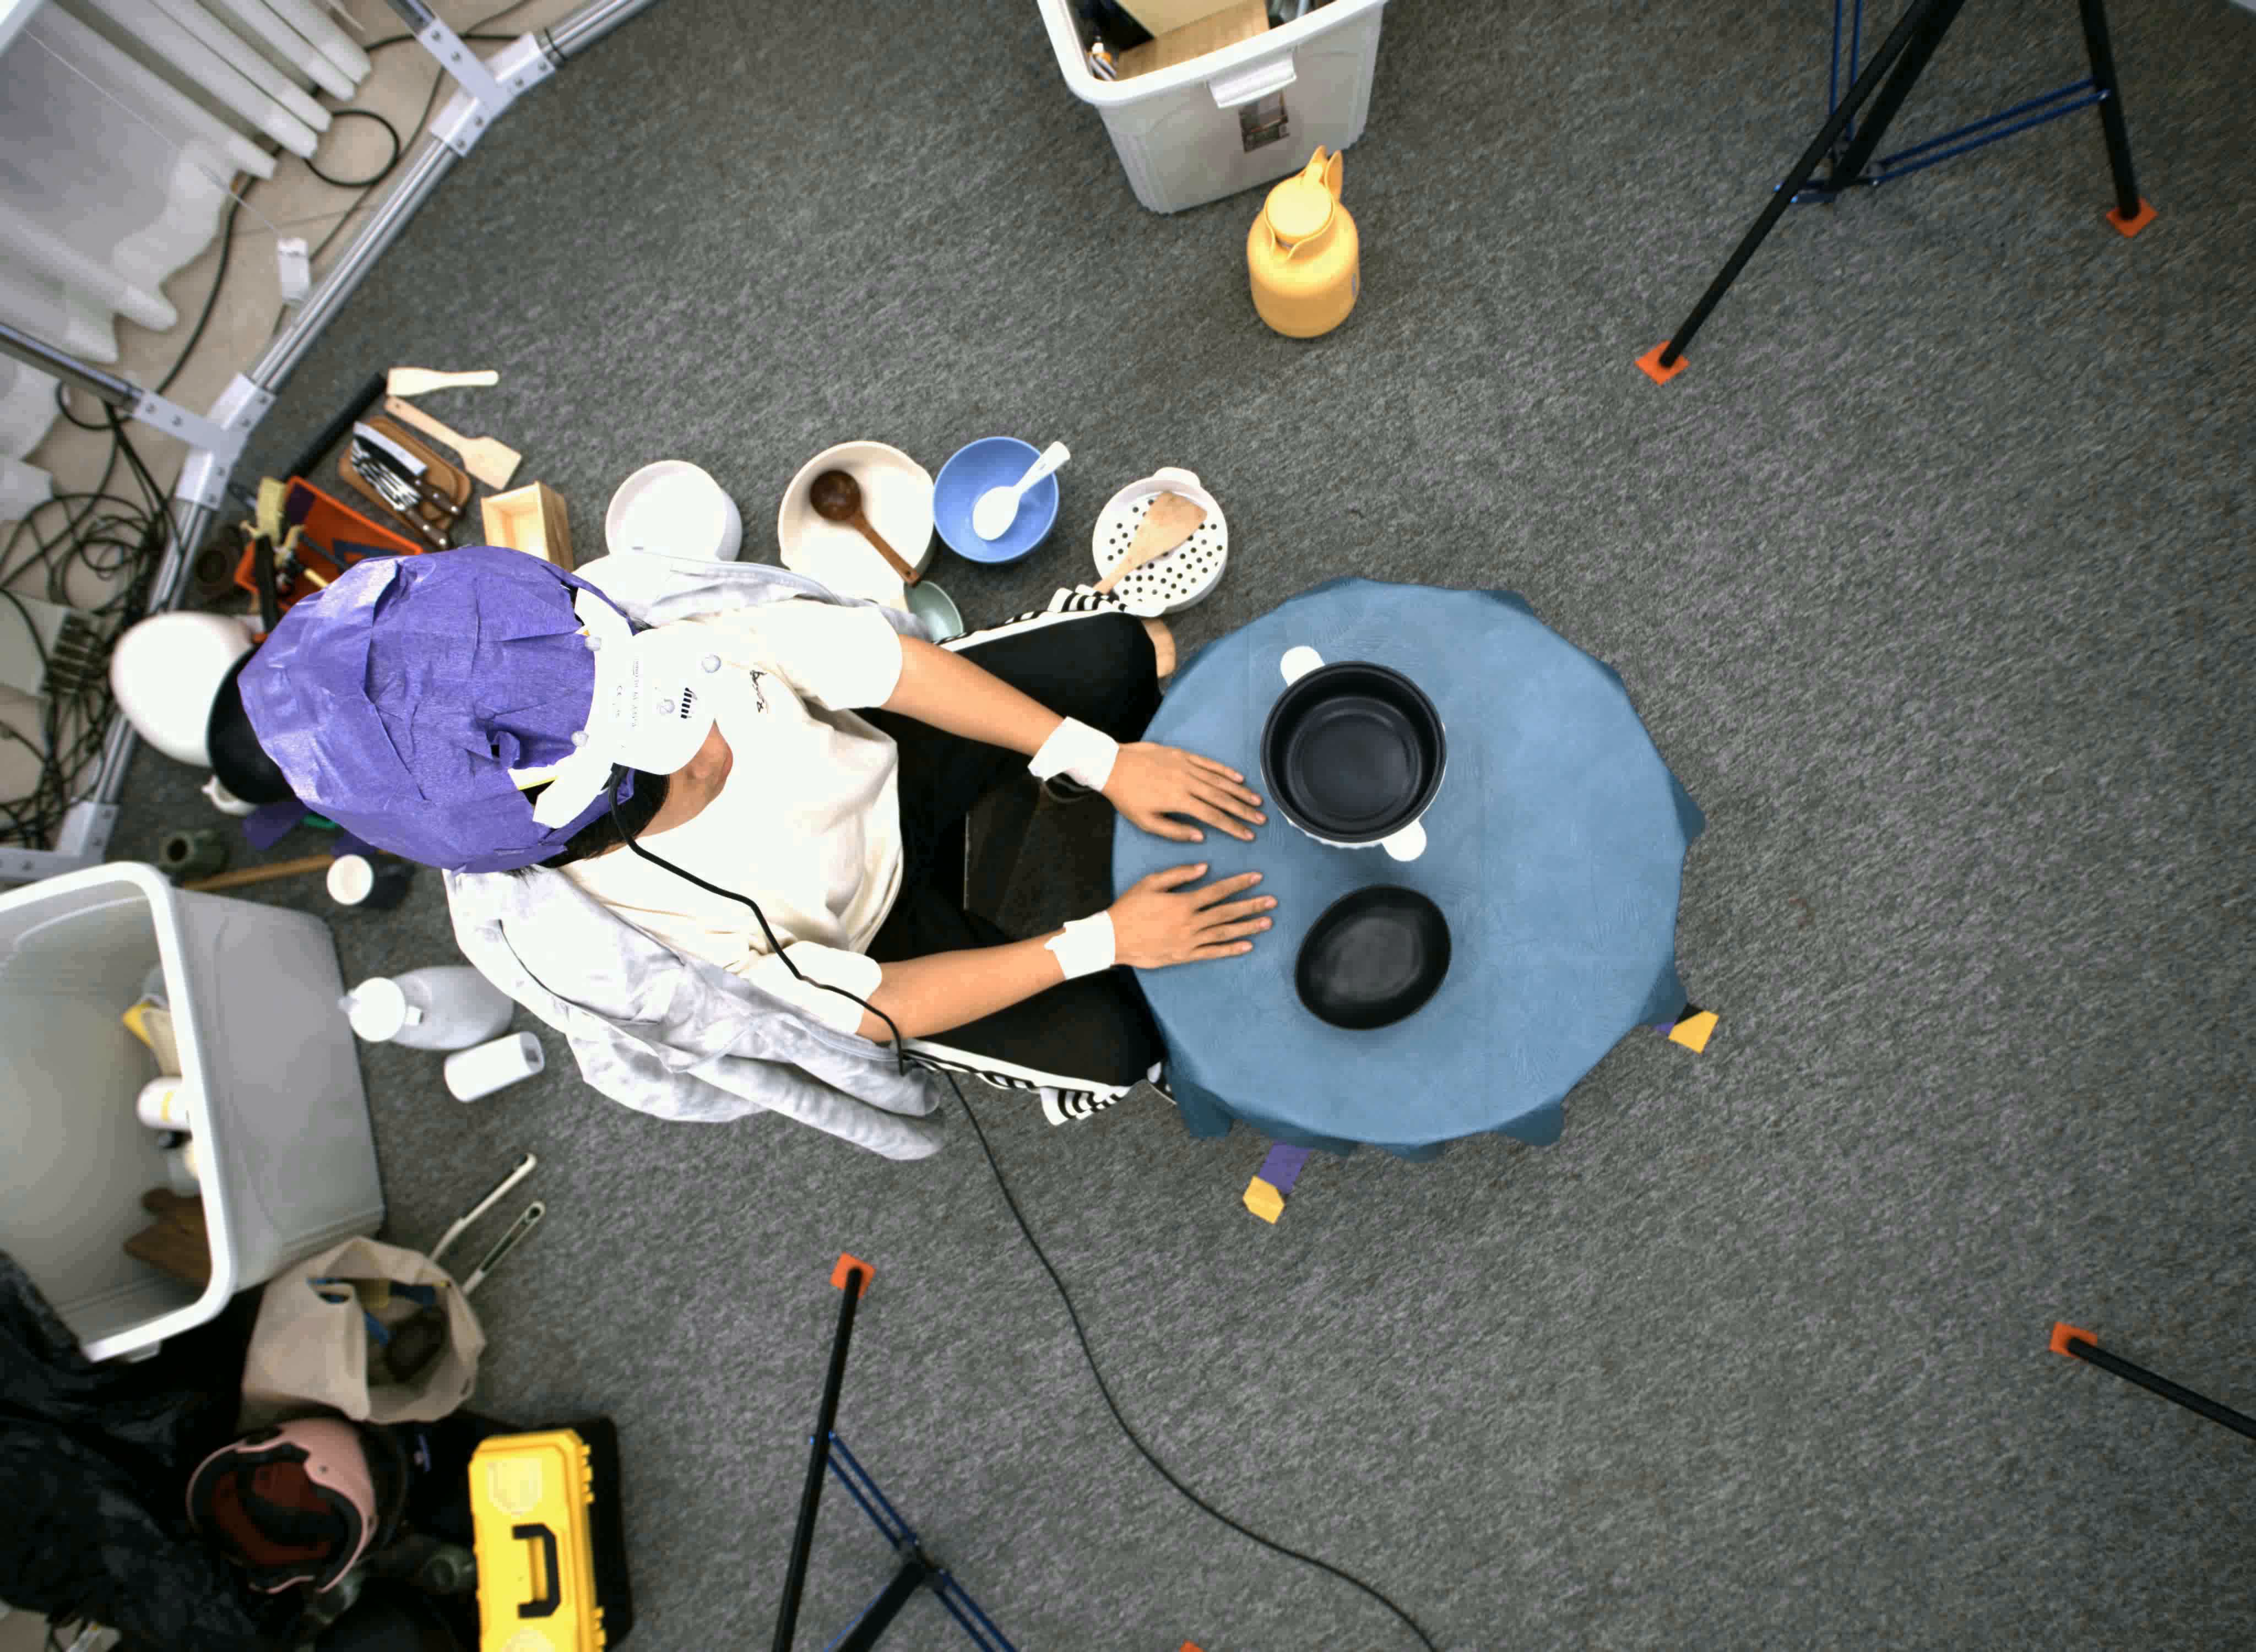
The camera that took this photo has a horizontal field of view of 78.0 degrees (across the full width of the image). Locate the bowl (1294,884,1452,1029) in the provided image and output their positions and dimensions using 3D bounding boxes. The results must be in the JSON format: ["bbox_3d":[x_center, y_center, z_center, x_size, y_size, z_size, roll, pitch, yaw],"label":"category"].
[{"bbox_3d":[0.253,0.136,1.425,0.171,0.067,0.136,-38,79,7],"label":"bowl"}]

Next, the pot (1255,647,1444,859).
[{"bbox_3d":[0.232,-0.072,1.403,0.192,0.142,0.239,-32,82,10],"label":"pot"}]
